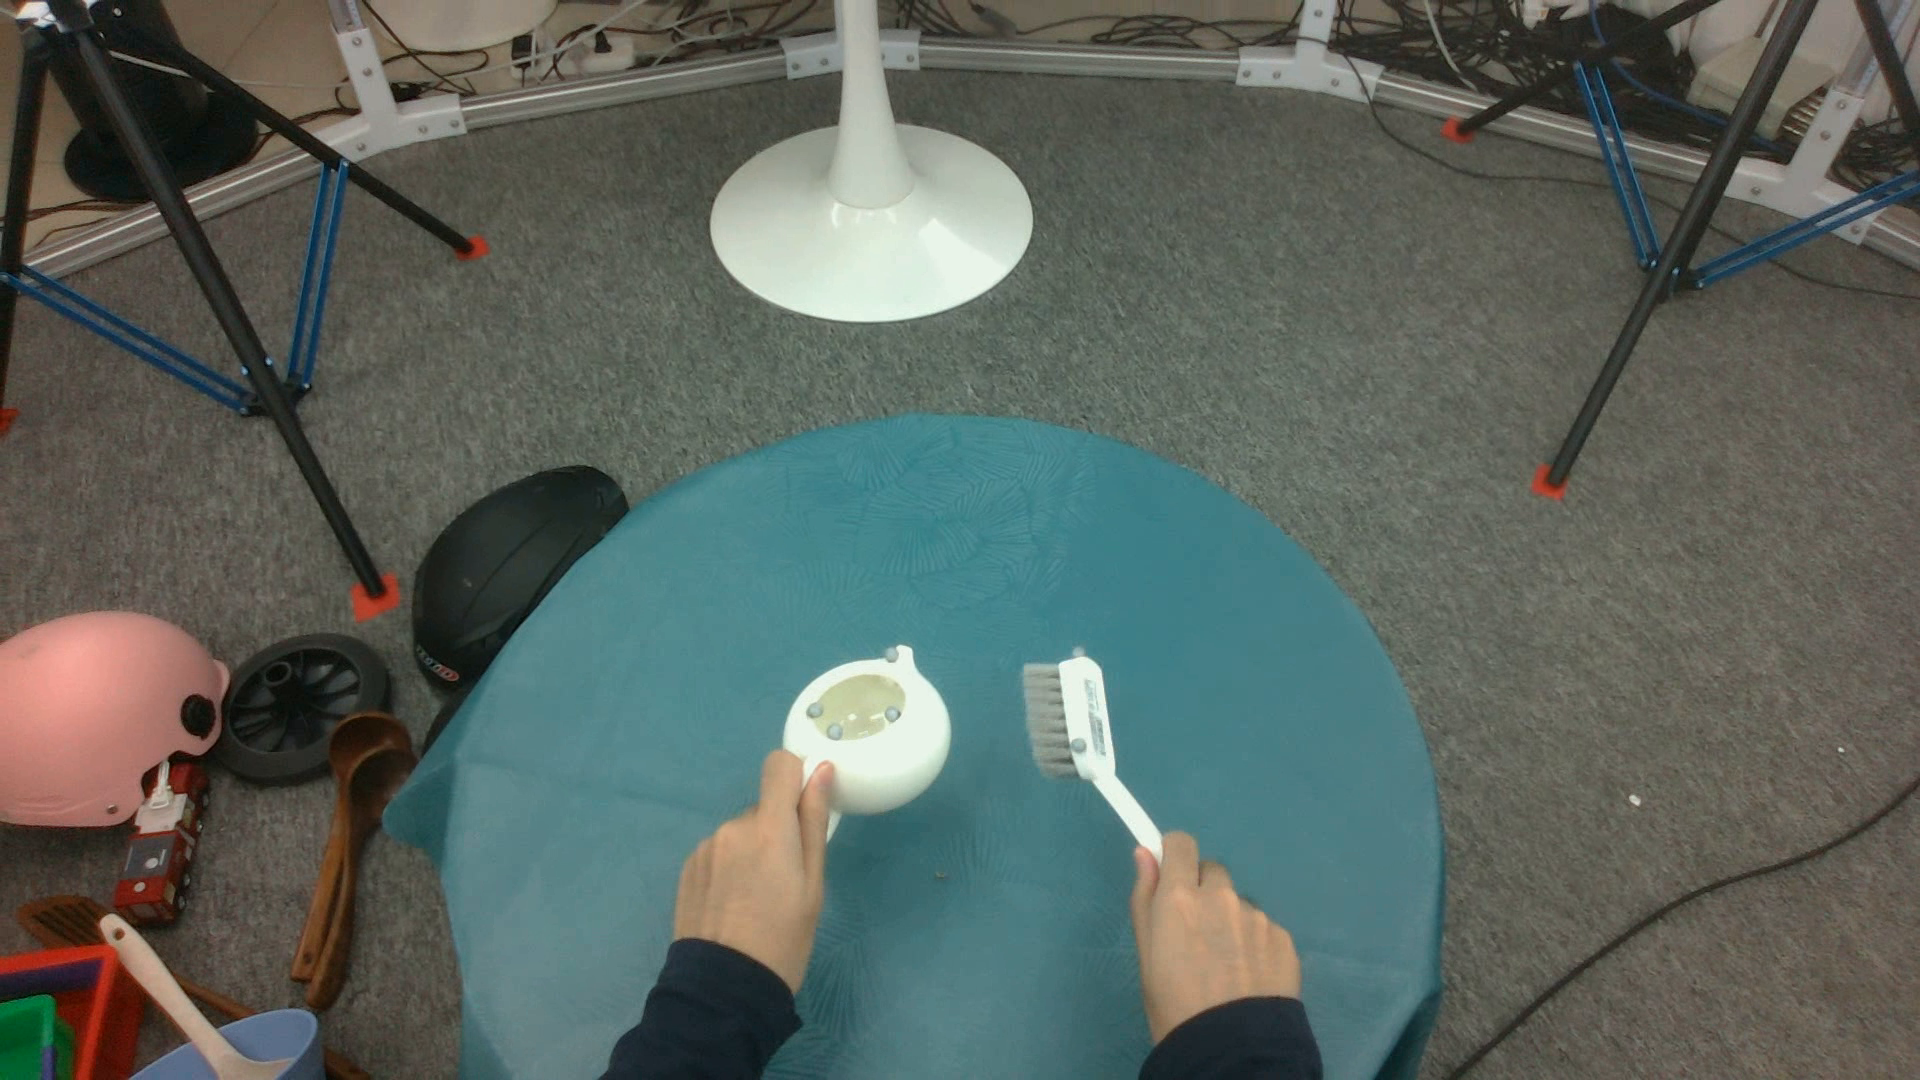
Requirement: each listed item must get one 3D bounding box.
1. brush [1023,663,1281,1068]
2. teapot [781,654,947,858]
[{"bbox_3d":[0.094,0.172,0.740,0.050,0.034,0.244,-33,62,14],"label":"brush"},{"bbox_3d":[-0.058,0.121,0.765,0.093,0.056,0.128,12,43,22],"label":"teapot"}]
